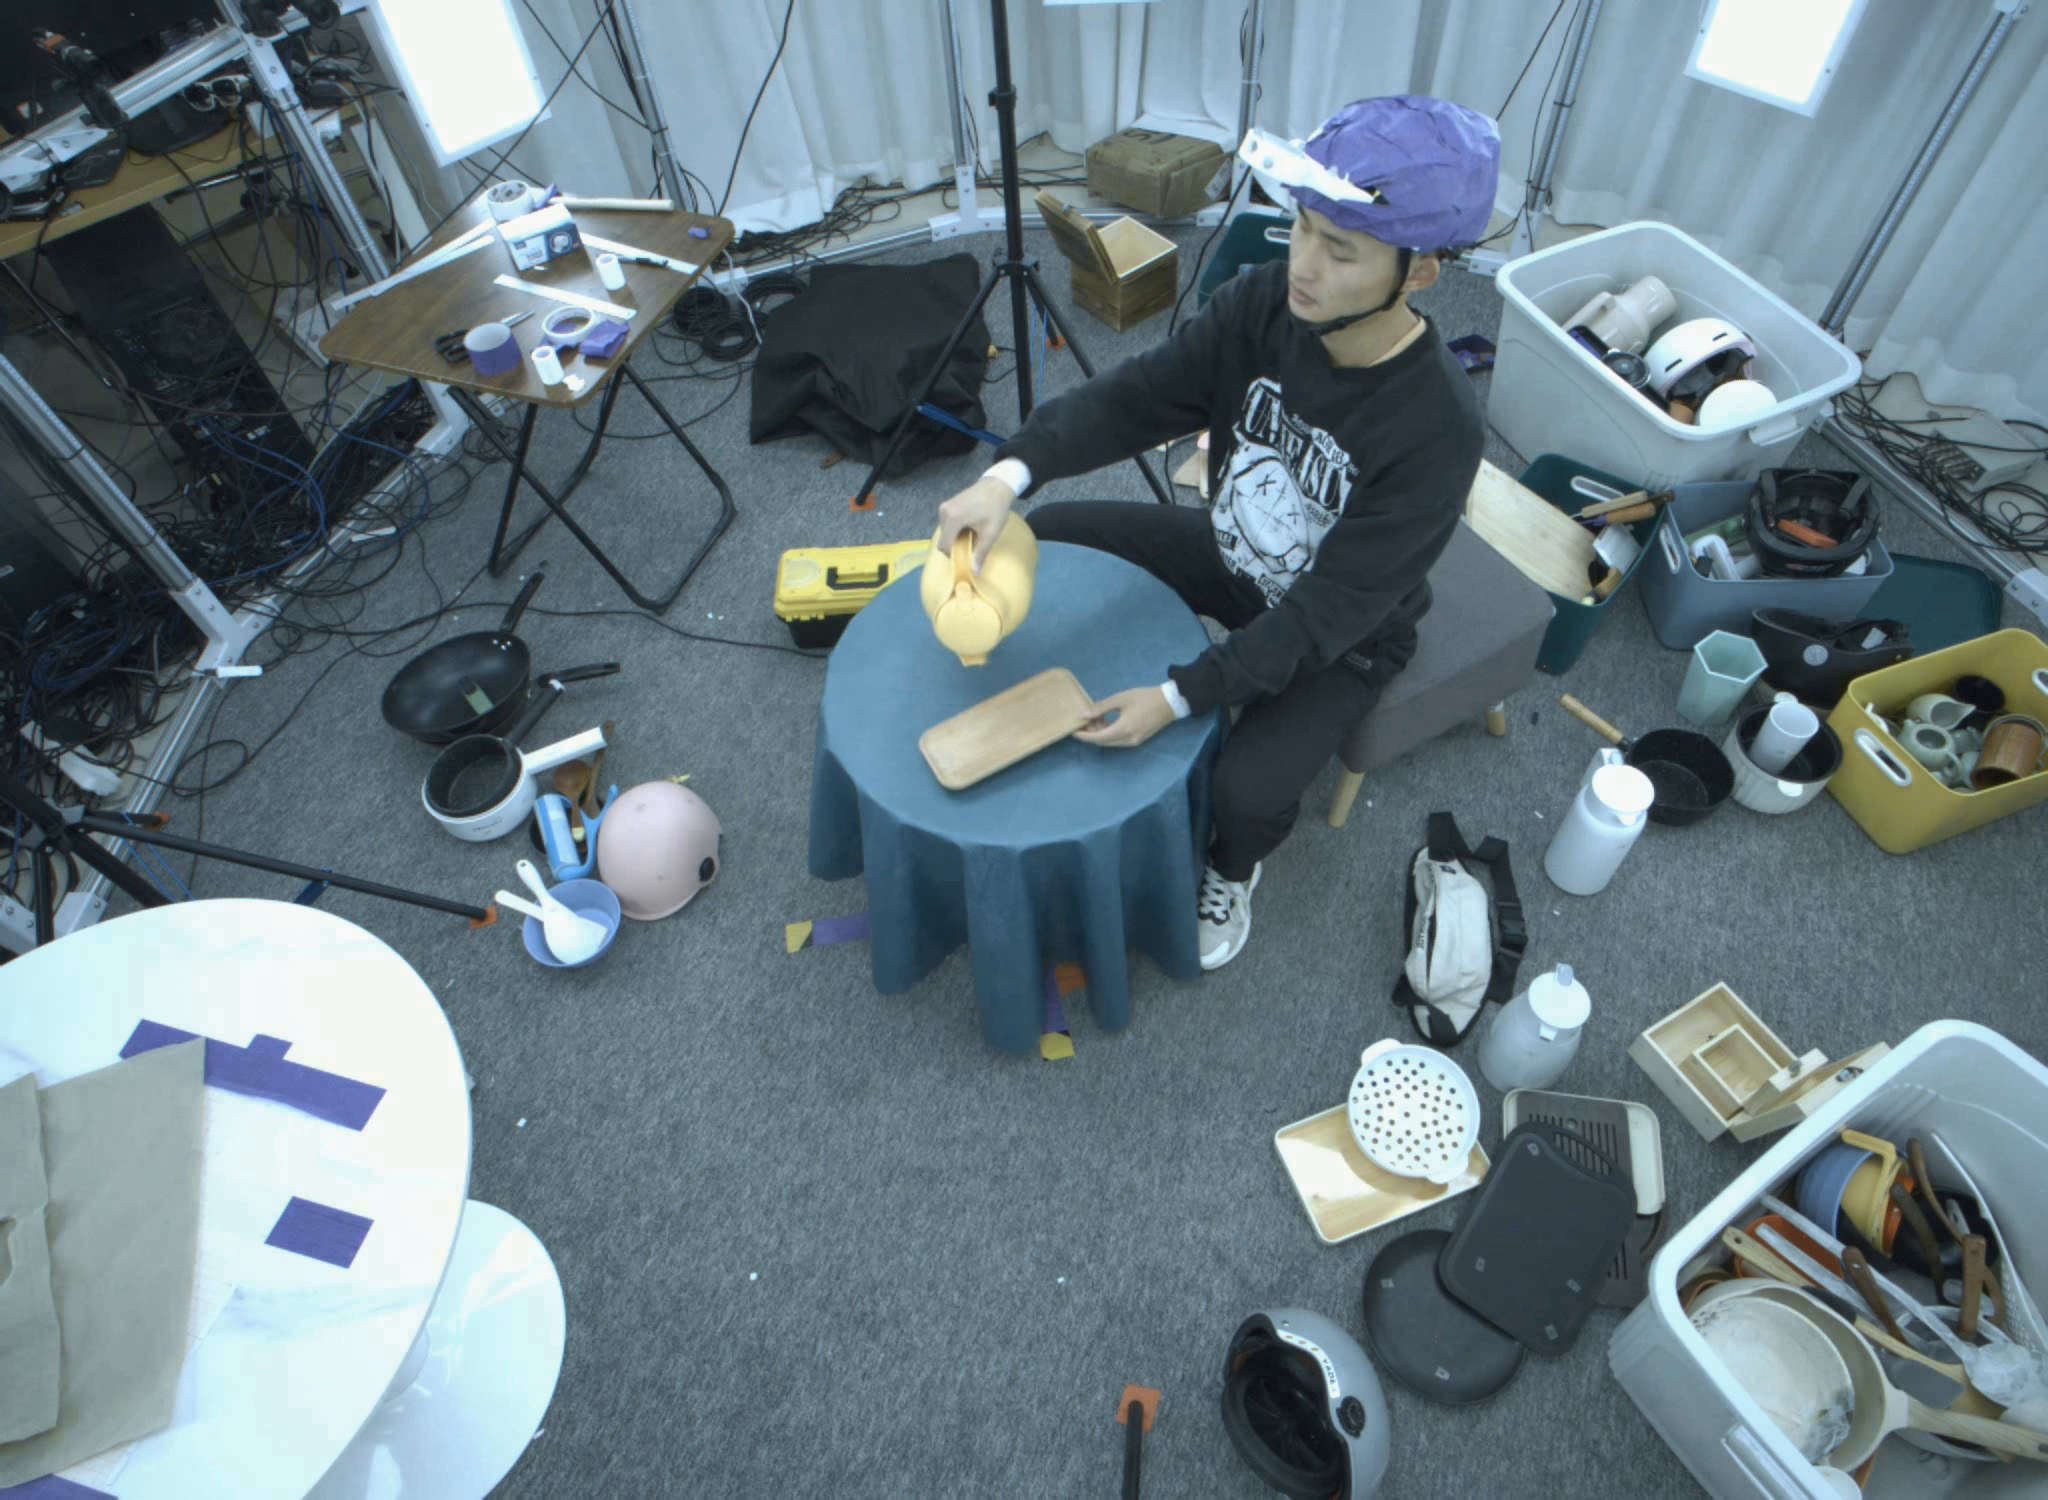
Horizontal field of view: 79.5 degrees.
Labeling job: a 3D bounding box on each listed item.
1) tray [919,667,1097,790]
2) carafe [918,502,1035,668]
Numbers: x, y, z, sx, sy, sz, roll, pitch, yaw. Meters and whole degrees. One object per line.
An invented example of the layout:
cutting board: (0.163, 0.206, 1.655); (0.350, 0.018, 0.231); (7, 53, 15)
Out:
tray: (-0.024, -0.032, 1.775); (0.252, 0.023, 0.128); (-26, 53, -9)
carafe: (-0.069, -0.251, 1.732); (0.163, 0.204, 0.258); (-1, 37, 2)
